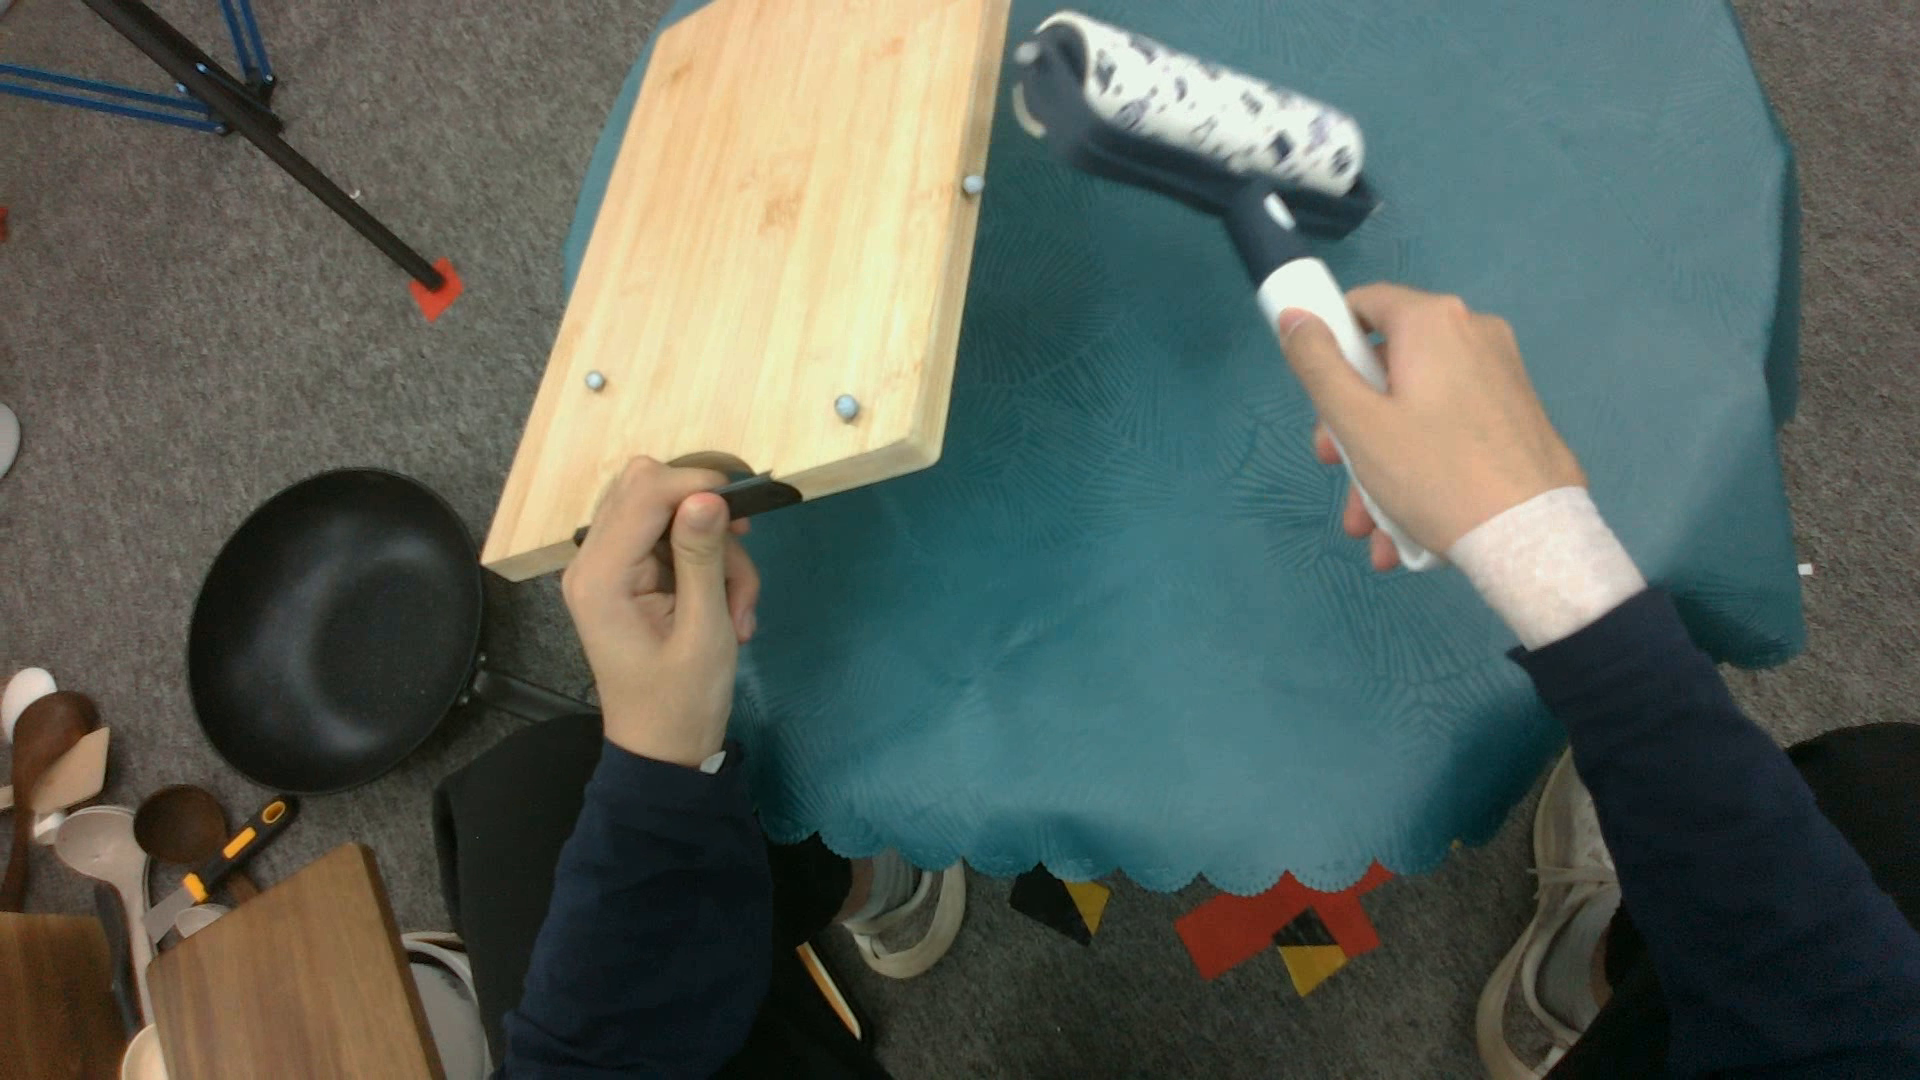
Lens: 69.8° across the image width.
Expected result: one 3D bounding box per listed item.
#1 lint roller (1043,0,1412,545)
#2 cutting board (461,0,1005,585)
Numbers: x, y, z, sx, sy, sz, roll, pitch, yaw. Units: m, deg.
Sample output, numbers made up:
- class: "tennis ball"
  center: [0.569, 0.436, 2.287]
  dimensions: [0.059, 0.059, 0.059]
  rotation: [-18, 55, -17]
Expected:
- class: "lint roller"
  center: [0.133, -0.112, 0.534]
  dimensions: [0.176, 0.050, 0.248]
  rotation: [6, 55, -31]
- class: "cutting board"
  center: [-0.091, -0.154, 0.624]
  dimensions: [0.250, 0.023, 0.350]
  rotation: [-14, 54, 33]
